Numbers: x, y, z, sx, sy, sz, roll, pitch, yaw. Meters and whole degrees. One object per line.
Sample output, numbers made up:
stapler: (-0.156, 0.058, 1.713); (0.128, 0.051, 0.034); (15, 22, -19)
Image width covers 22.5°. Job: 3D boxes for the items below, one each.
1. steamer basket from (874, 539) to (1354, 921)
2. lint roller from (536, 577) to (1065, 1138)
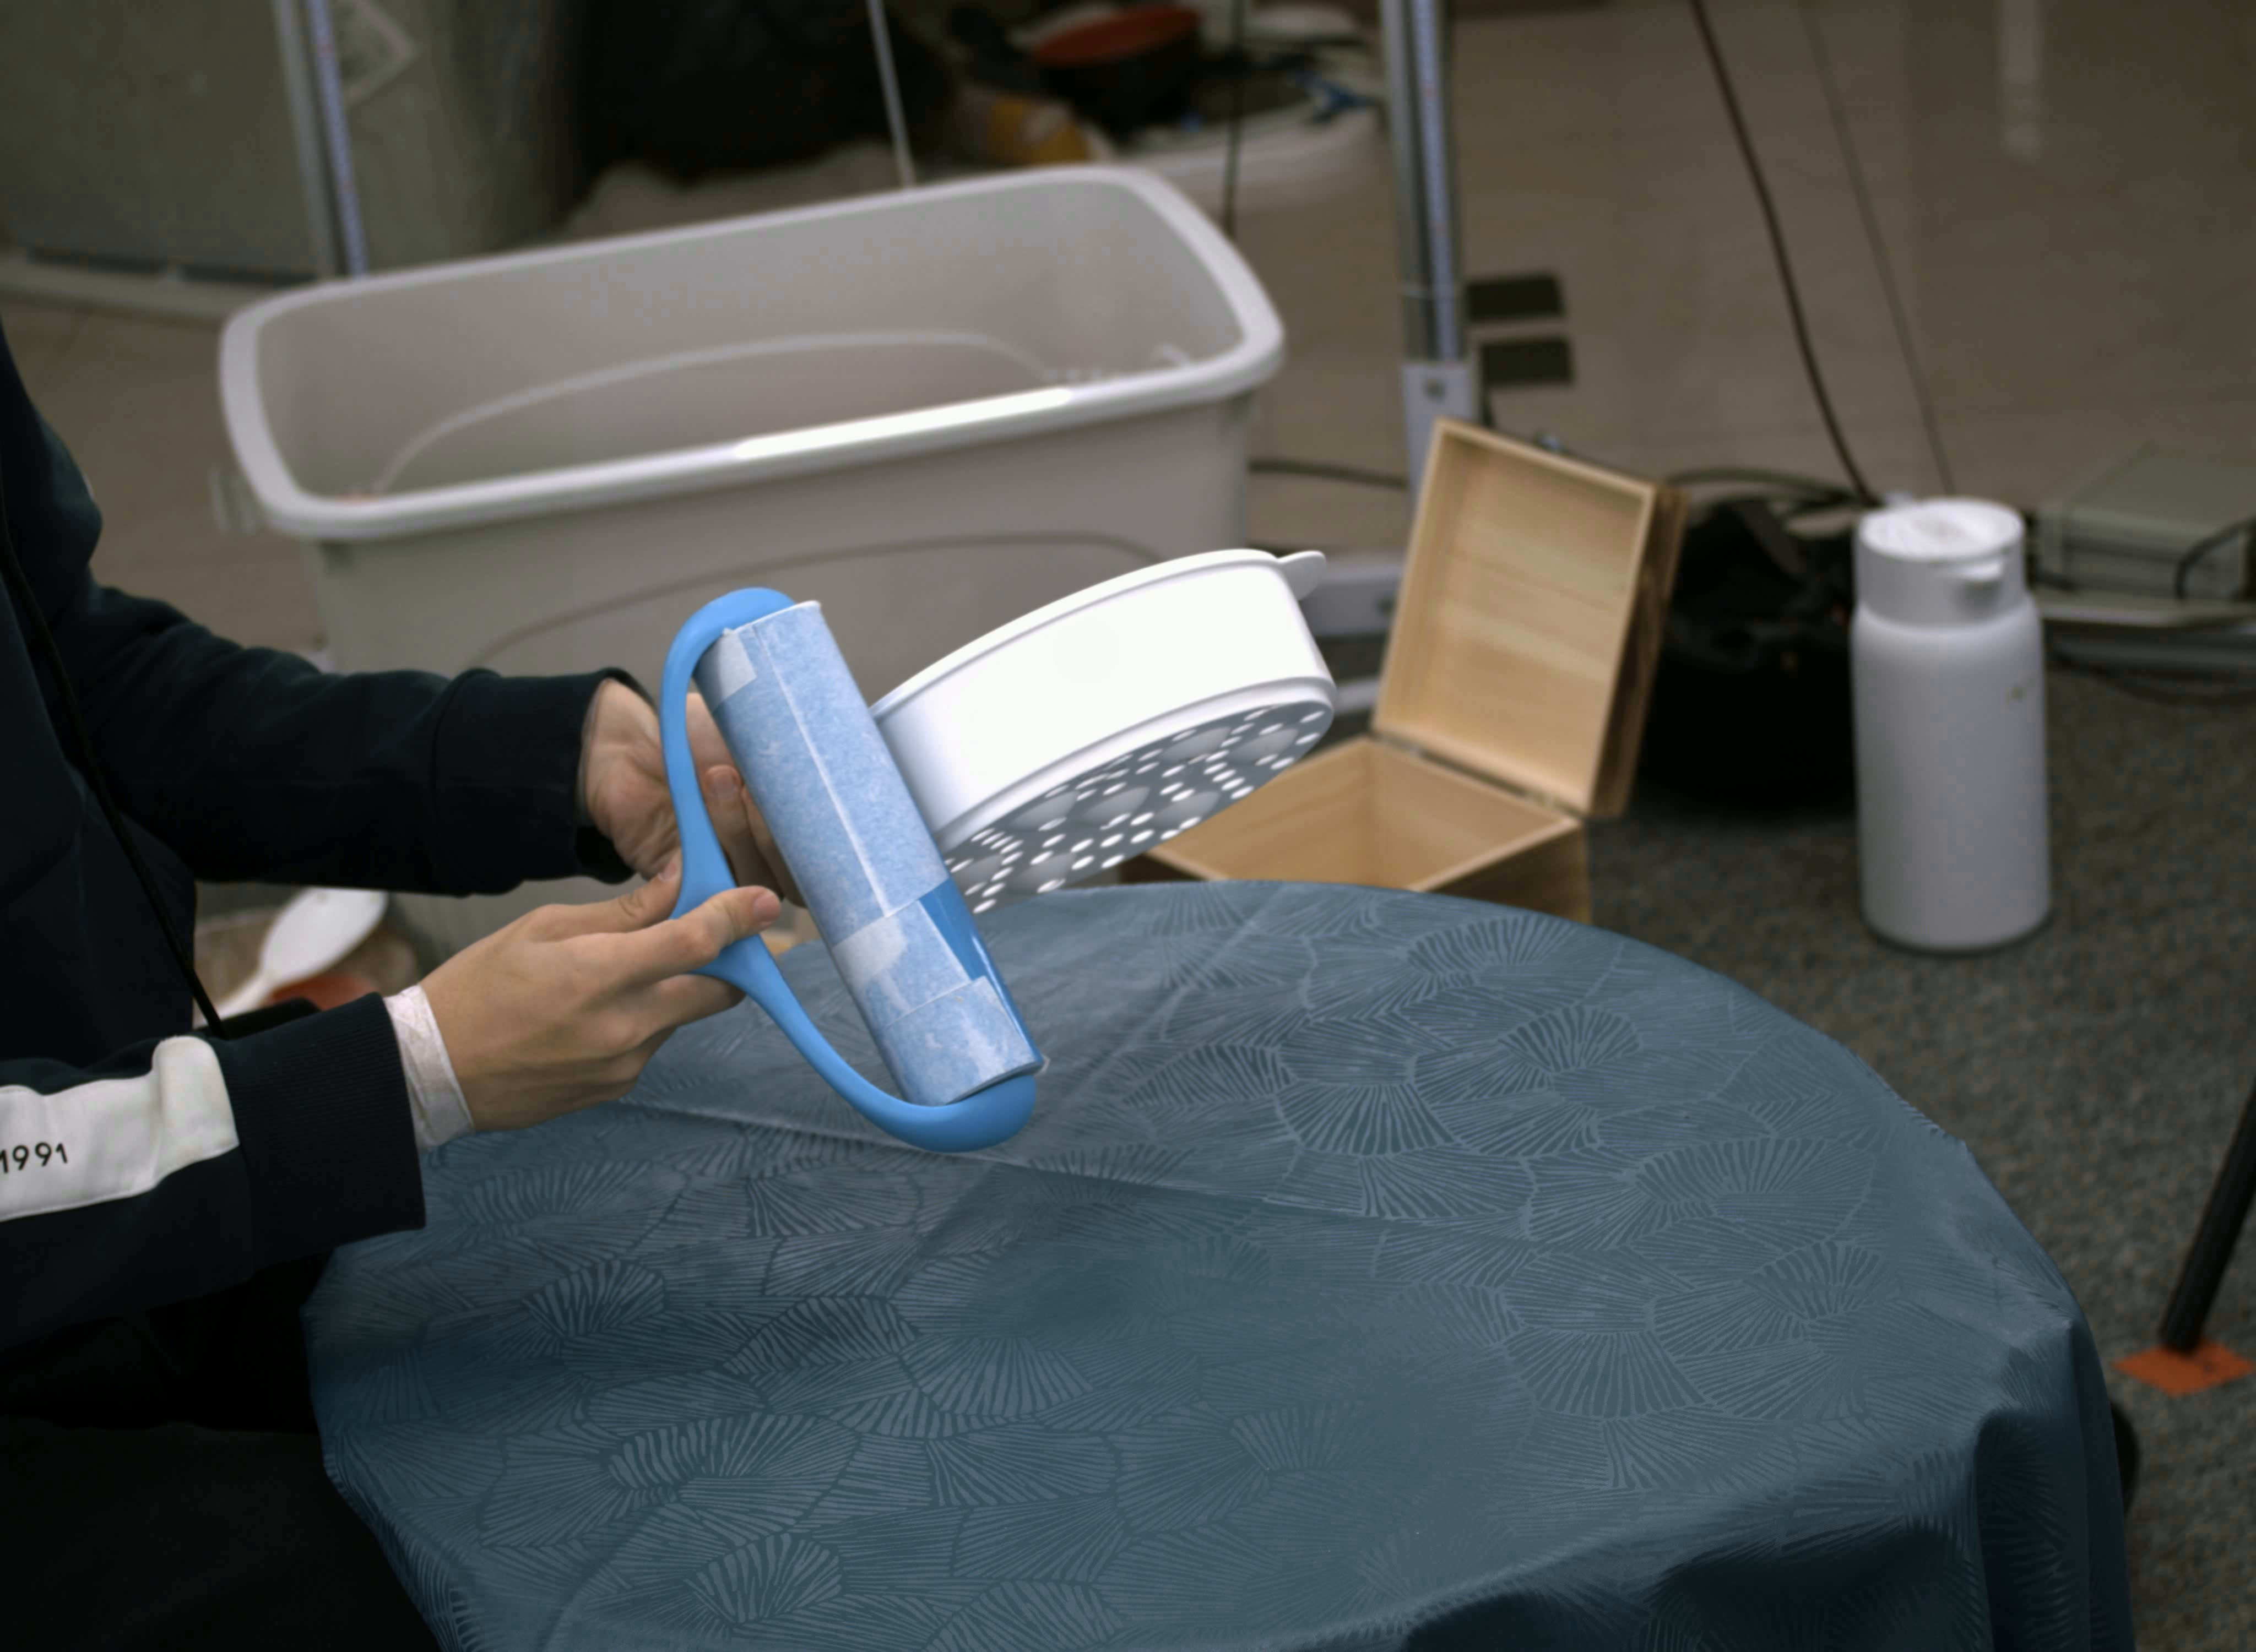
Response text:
steamer basket: (-0.012, -0.031, 2.169); (0.230, 0.069, 0.203); (-25, -12, -6)
lint roller: (-0.143, 0.041, 2.087); (0.180, 0.228, 0.068); (-32, -4, 4)
